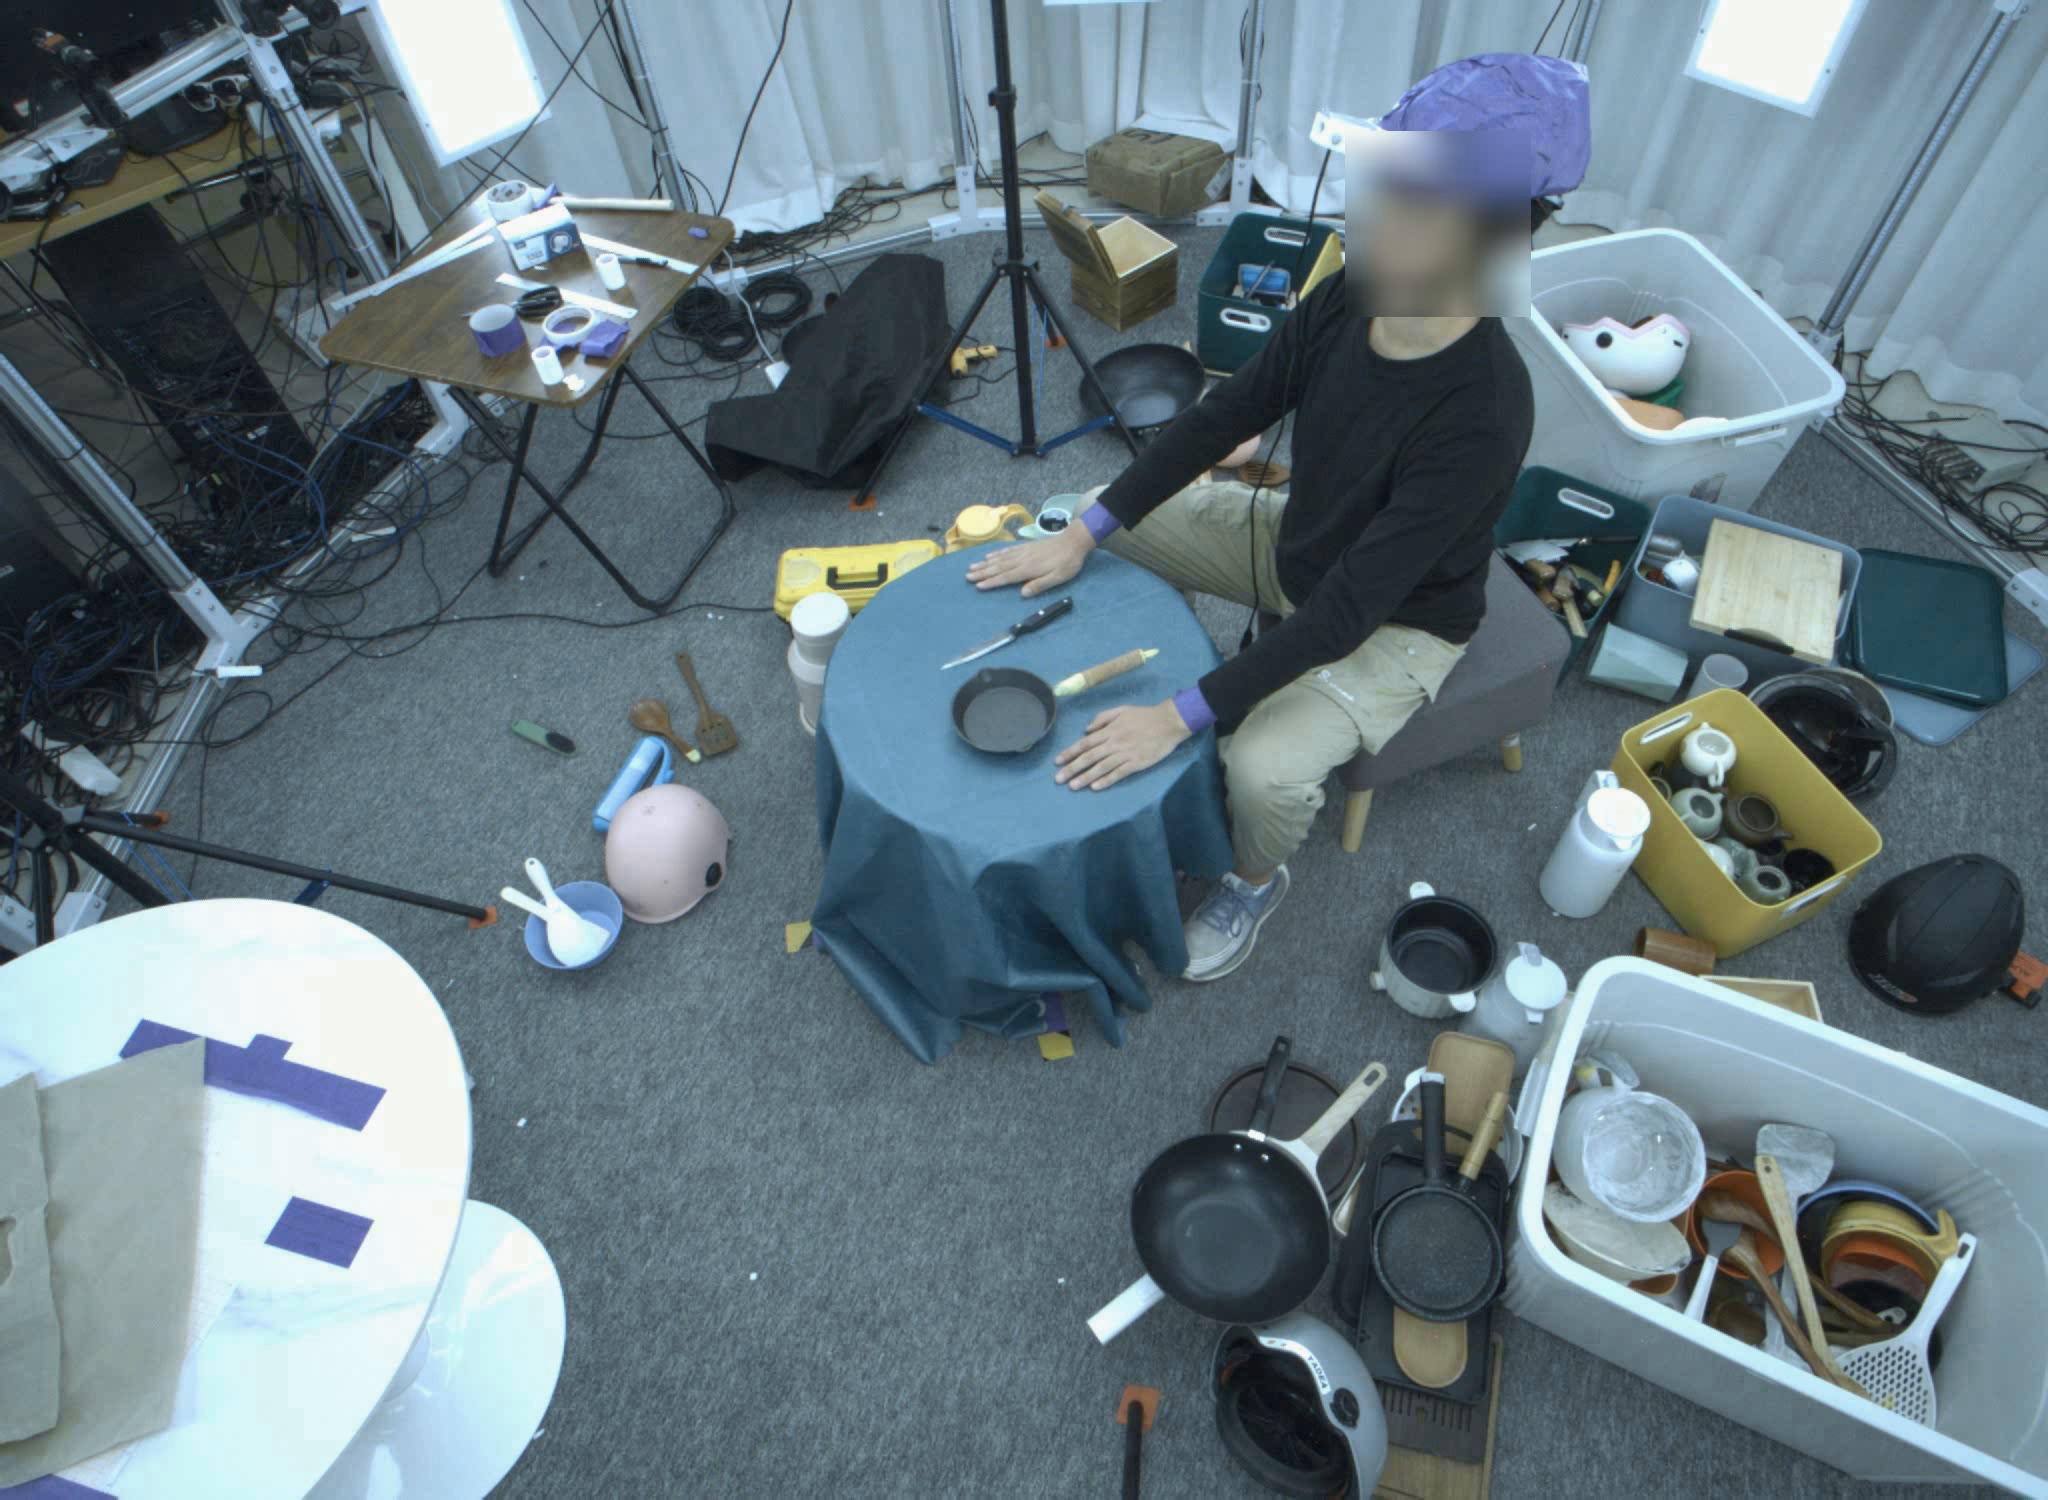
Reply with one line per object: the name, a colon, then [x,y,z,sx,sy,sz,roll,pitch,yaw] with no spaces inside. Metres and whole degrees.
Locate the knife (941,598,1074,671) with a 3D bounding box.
knife: [-0.027,-0.179,1.905,0.240,0.016,0.024,-29,60,-14]

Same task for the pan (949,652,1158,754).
pan: [0.048,-0.083,1.813,0.326,0.050,0.166,-18,56,-11]
